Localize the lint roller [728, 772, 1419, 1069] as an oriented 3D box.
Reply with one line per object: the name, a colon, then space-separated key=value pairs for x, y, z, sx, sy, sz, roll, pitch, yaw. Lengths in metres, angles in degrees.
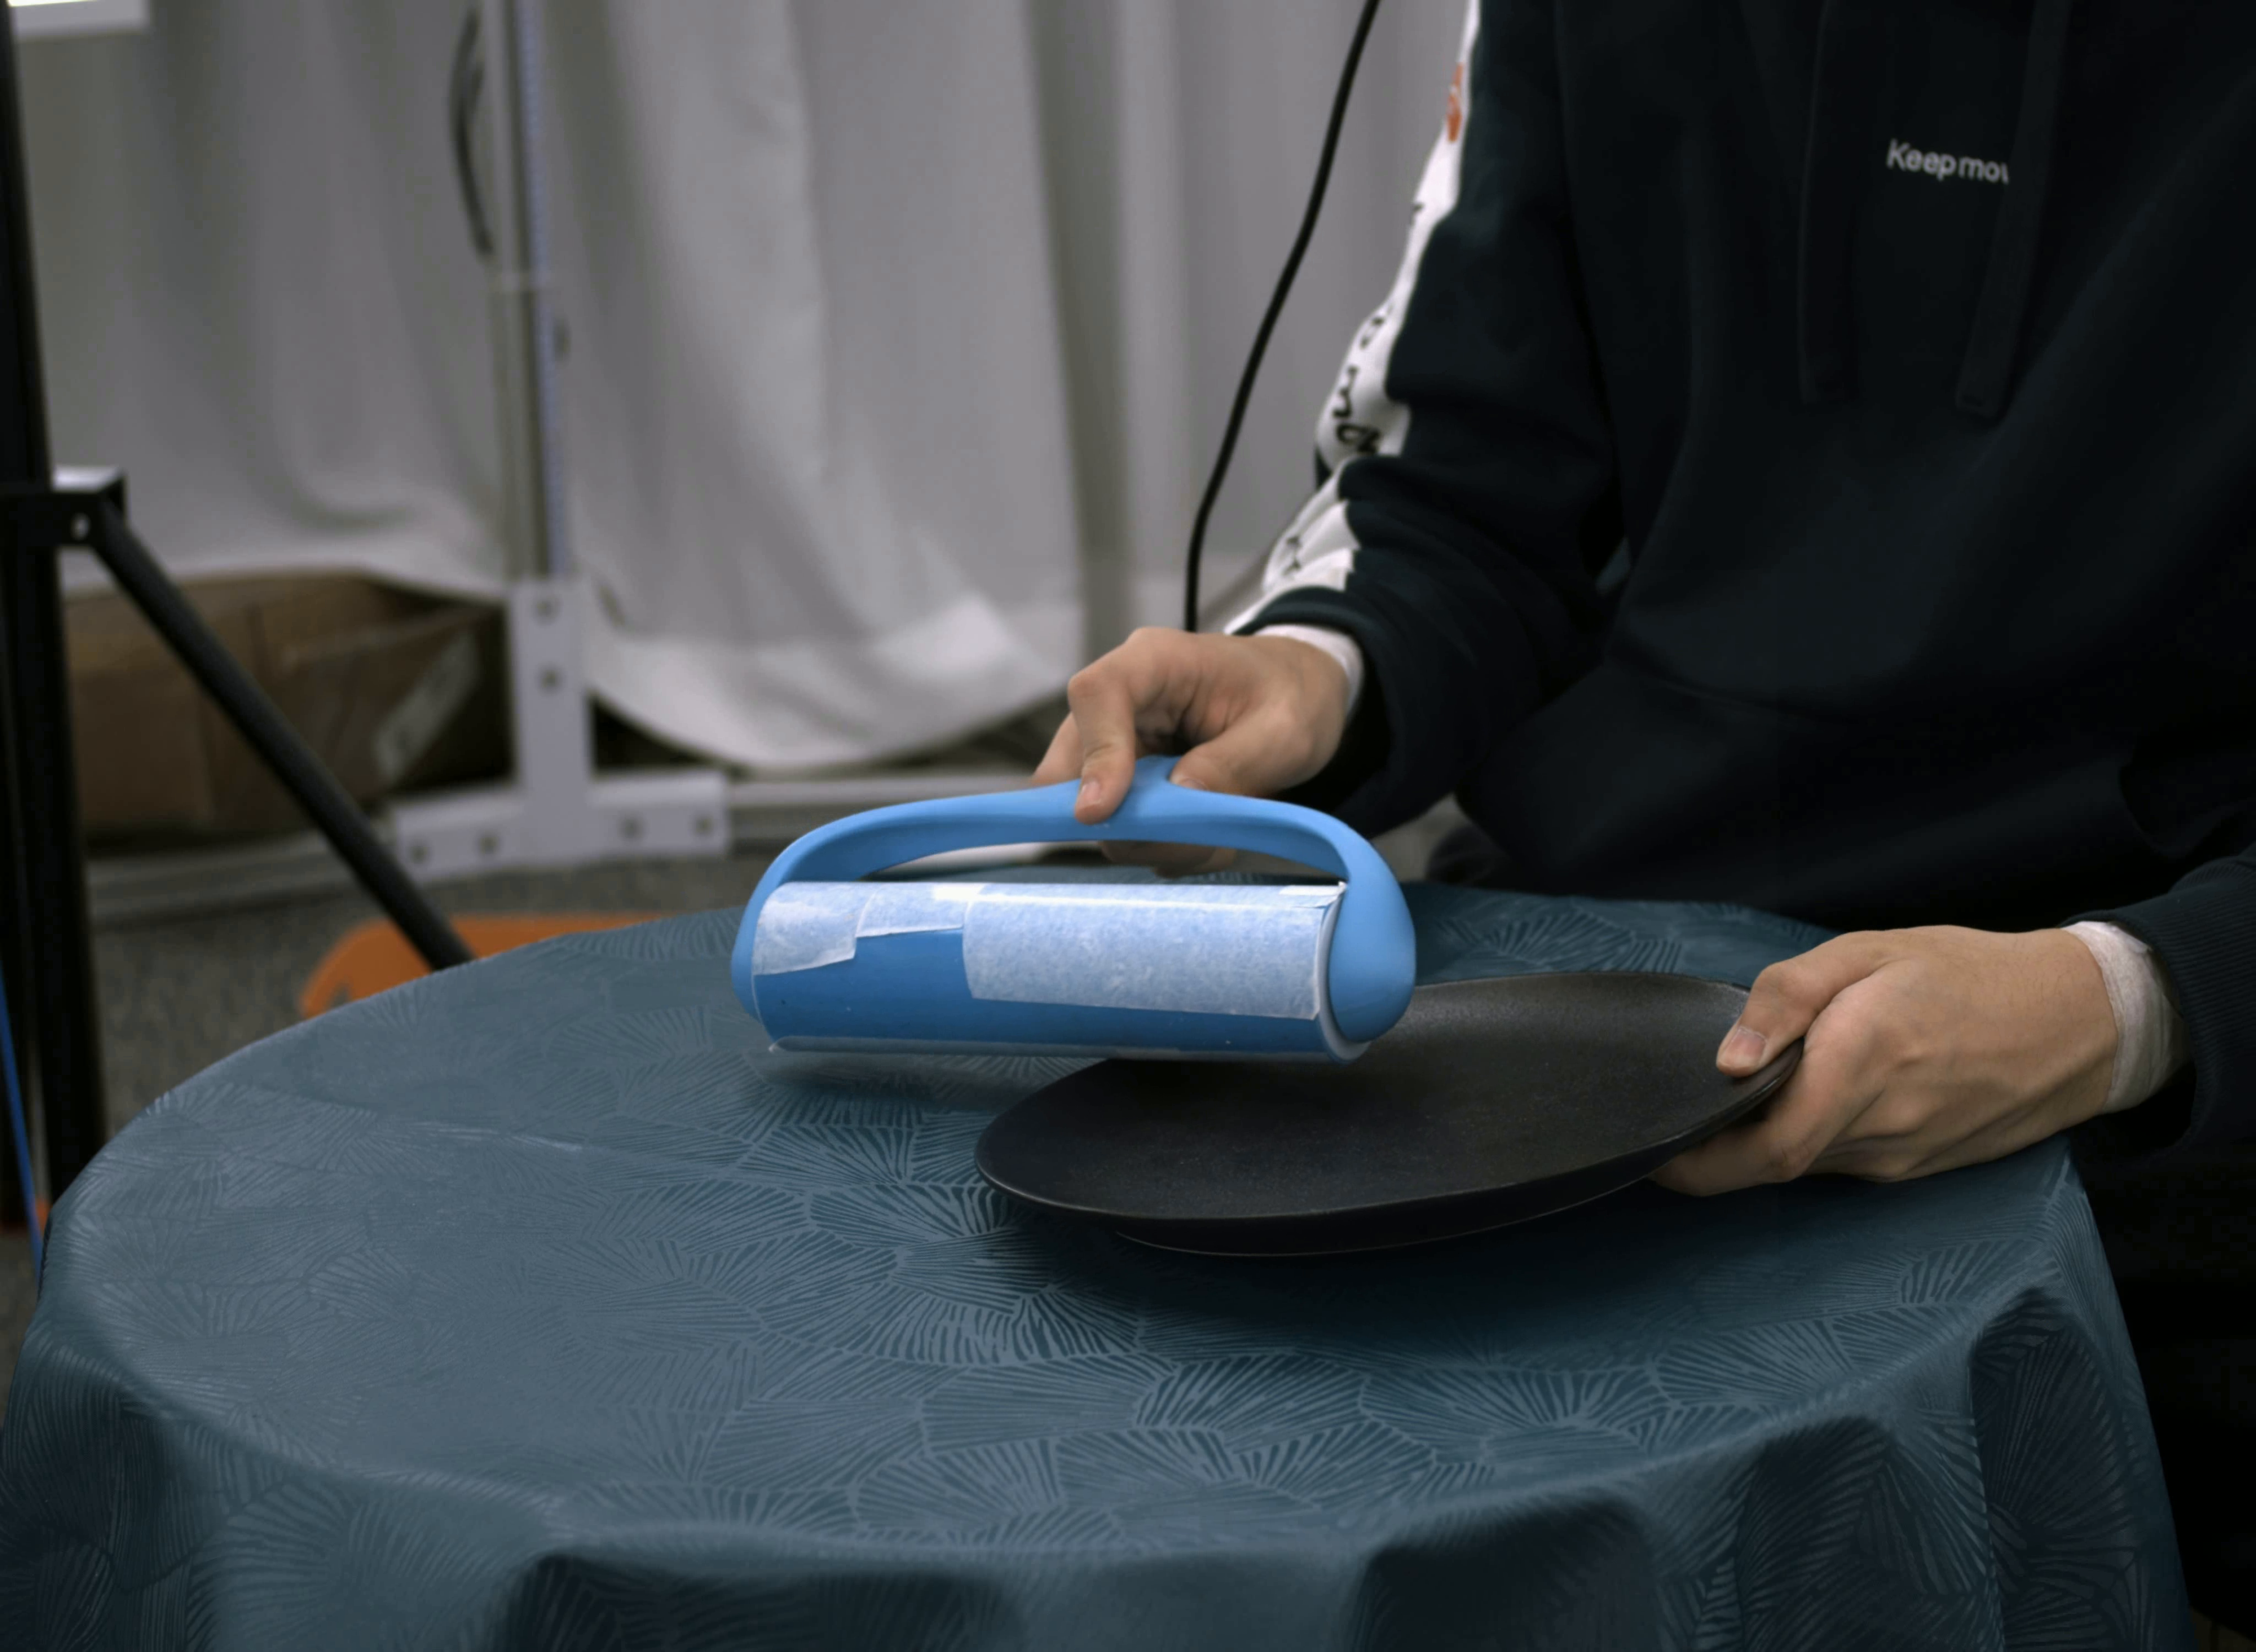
lint roller: x=0.000 y=0.016 z=1.677 sx=0.232 sy=0.067 sz=0.179 roll=-2 pitch=27 yaw=25

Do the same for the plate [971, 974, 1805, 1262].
plate: x=0.076 y=0.087 z=1.534 sx=0.243 sy=0.023 sz=0.245 roll=-9 pitch=12 yaw=0
